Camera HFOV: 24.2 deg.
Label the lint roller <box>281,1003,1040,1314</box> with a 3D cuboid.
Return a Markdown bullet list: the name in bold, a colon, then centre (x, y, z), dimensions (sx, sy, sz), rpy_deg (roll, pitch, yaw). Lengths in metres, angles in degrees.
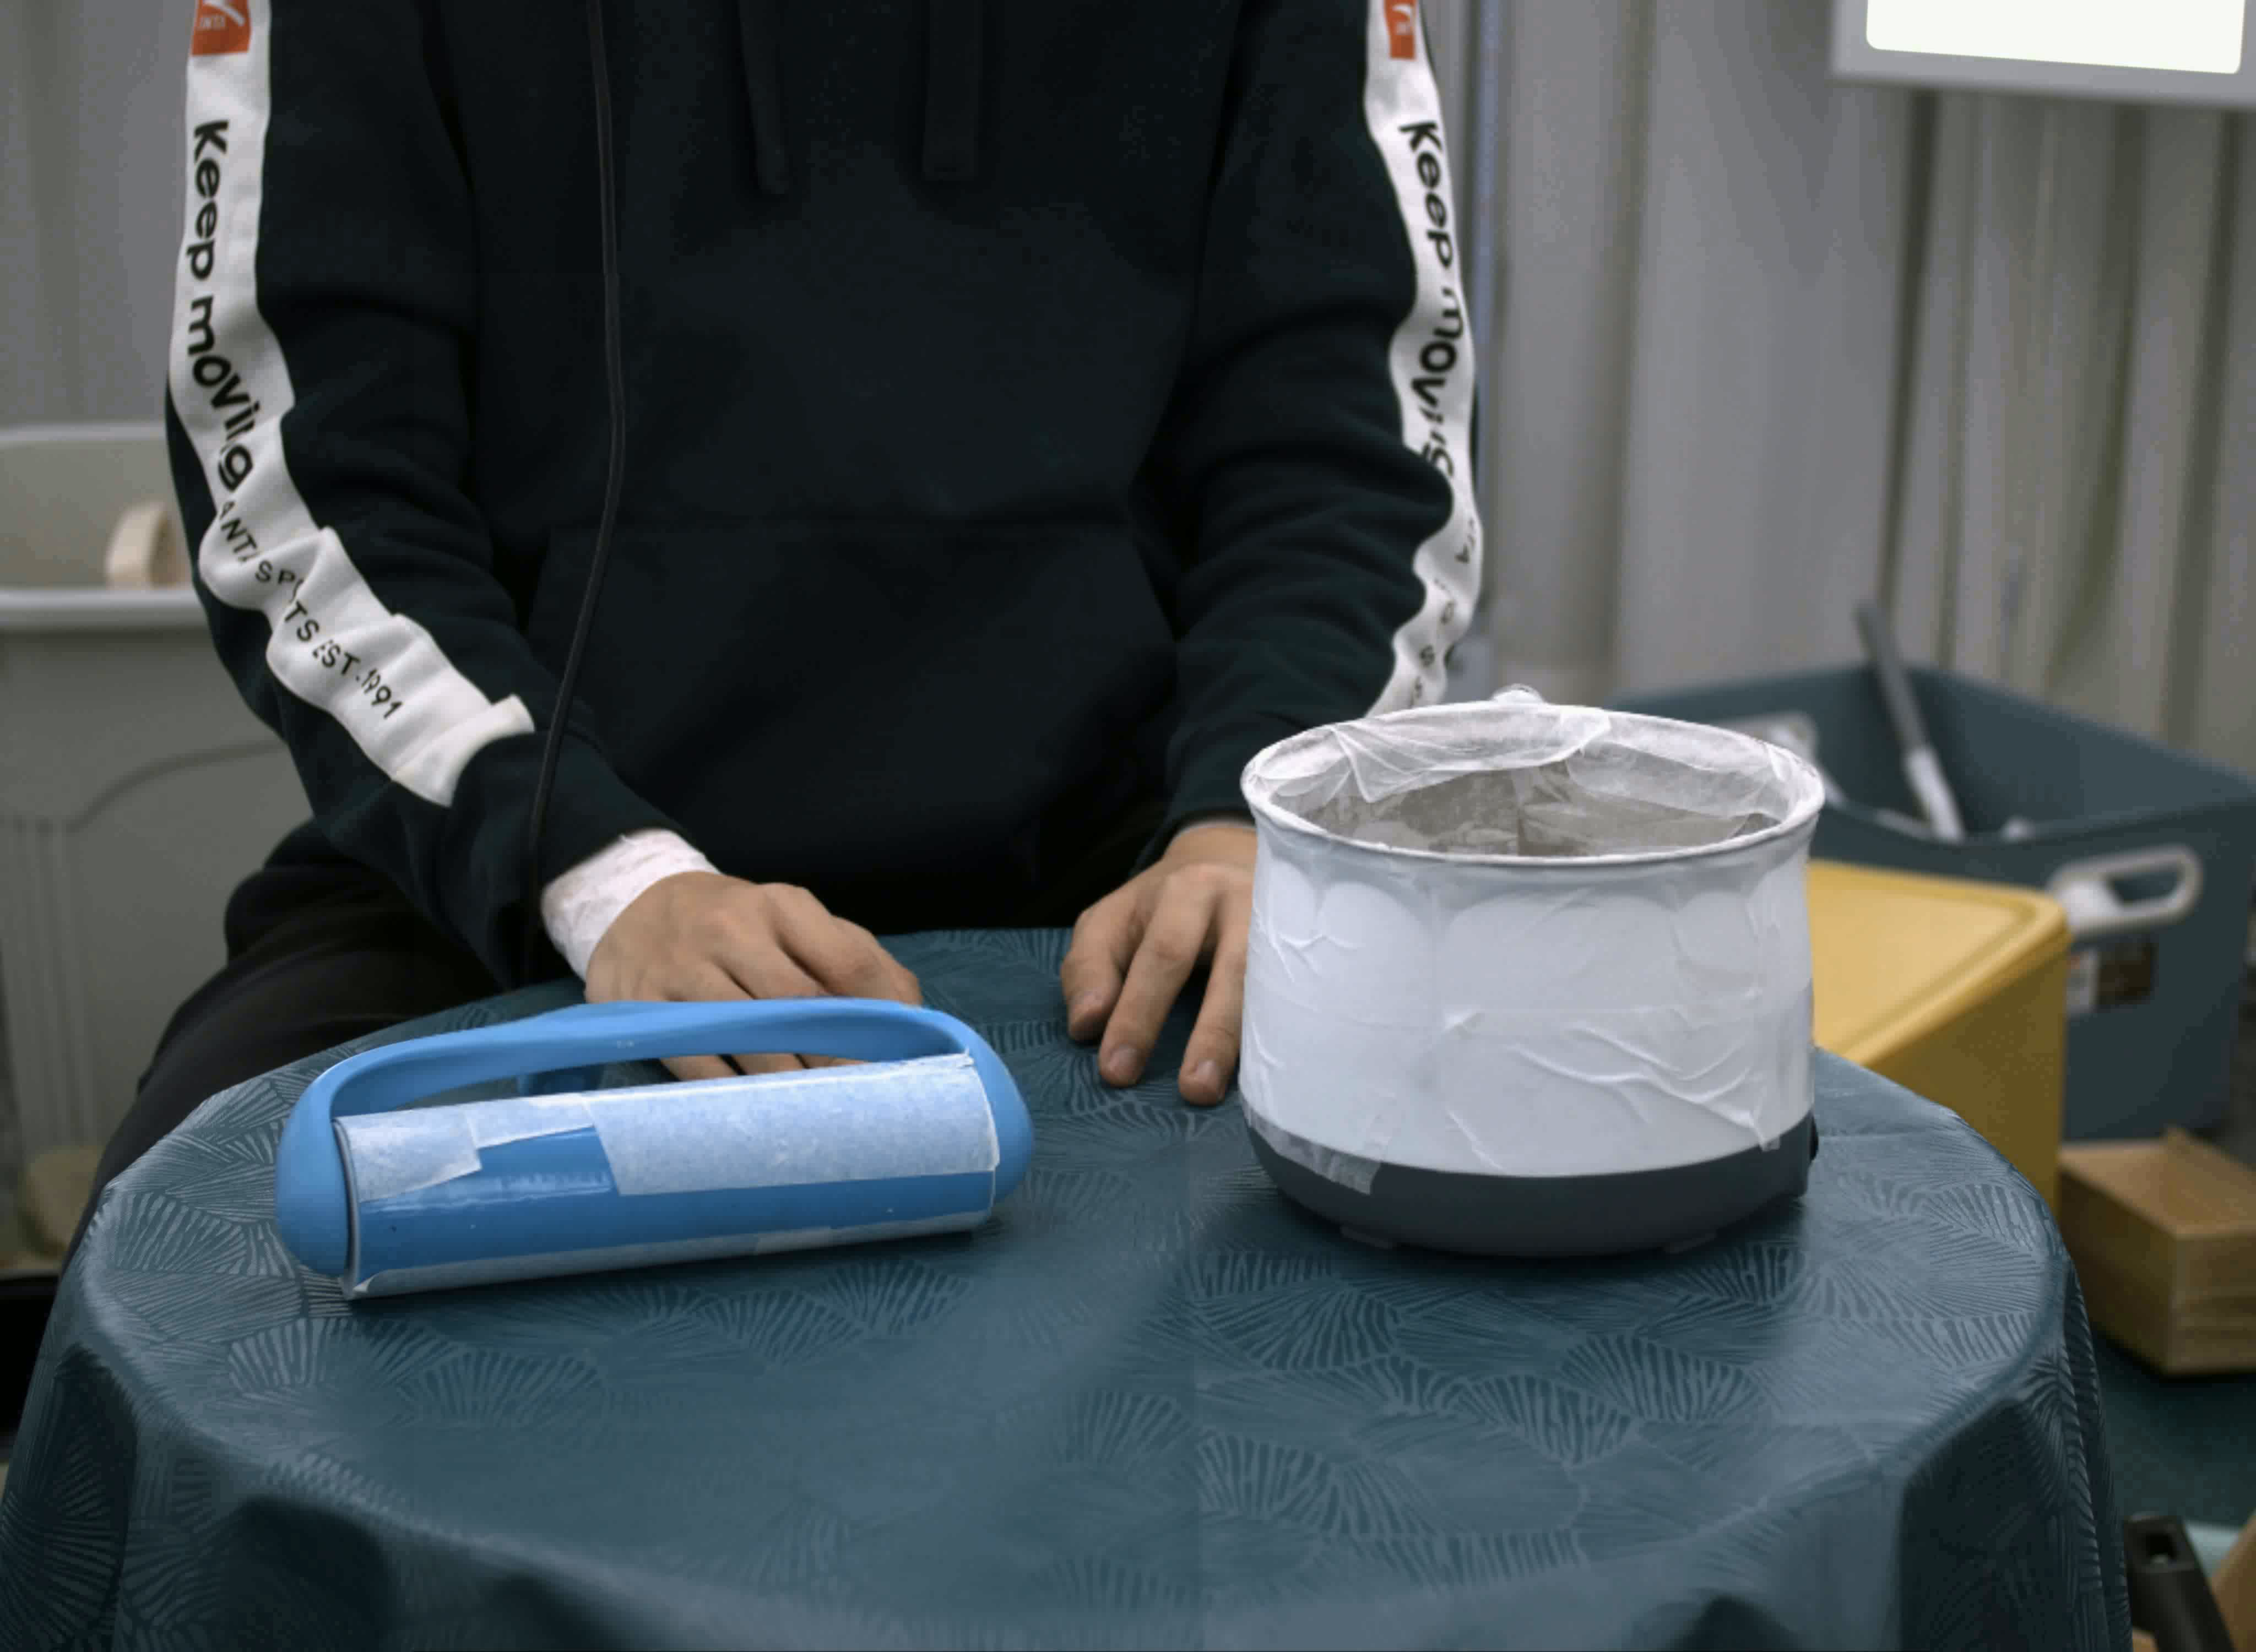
- **lint roller**: centre (-0.158, 0.088, 1.598), dimensions (0.229, 0.068, 0.178), rpy_deg (-8, 18, -22)

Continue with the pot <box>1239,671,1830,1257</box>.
- **pot**: centre (0.122, 0.037, 1.627), dimensions (0.178, 0.138, 0.232), rpy_deg (1, 17, 0)
